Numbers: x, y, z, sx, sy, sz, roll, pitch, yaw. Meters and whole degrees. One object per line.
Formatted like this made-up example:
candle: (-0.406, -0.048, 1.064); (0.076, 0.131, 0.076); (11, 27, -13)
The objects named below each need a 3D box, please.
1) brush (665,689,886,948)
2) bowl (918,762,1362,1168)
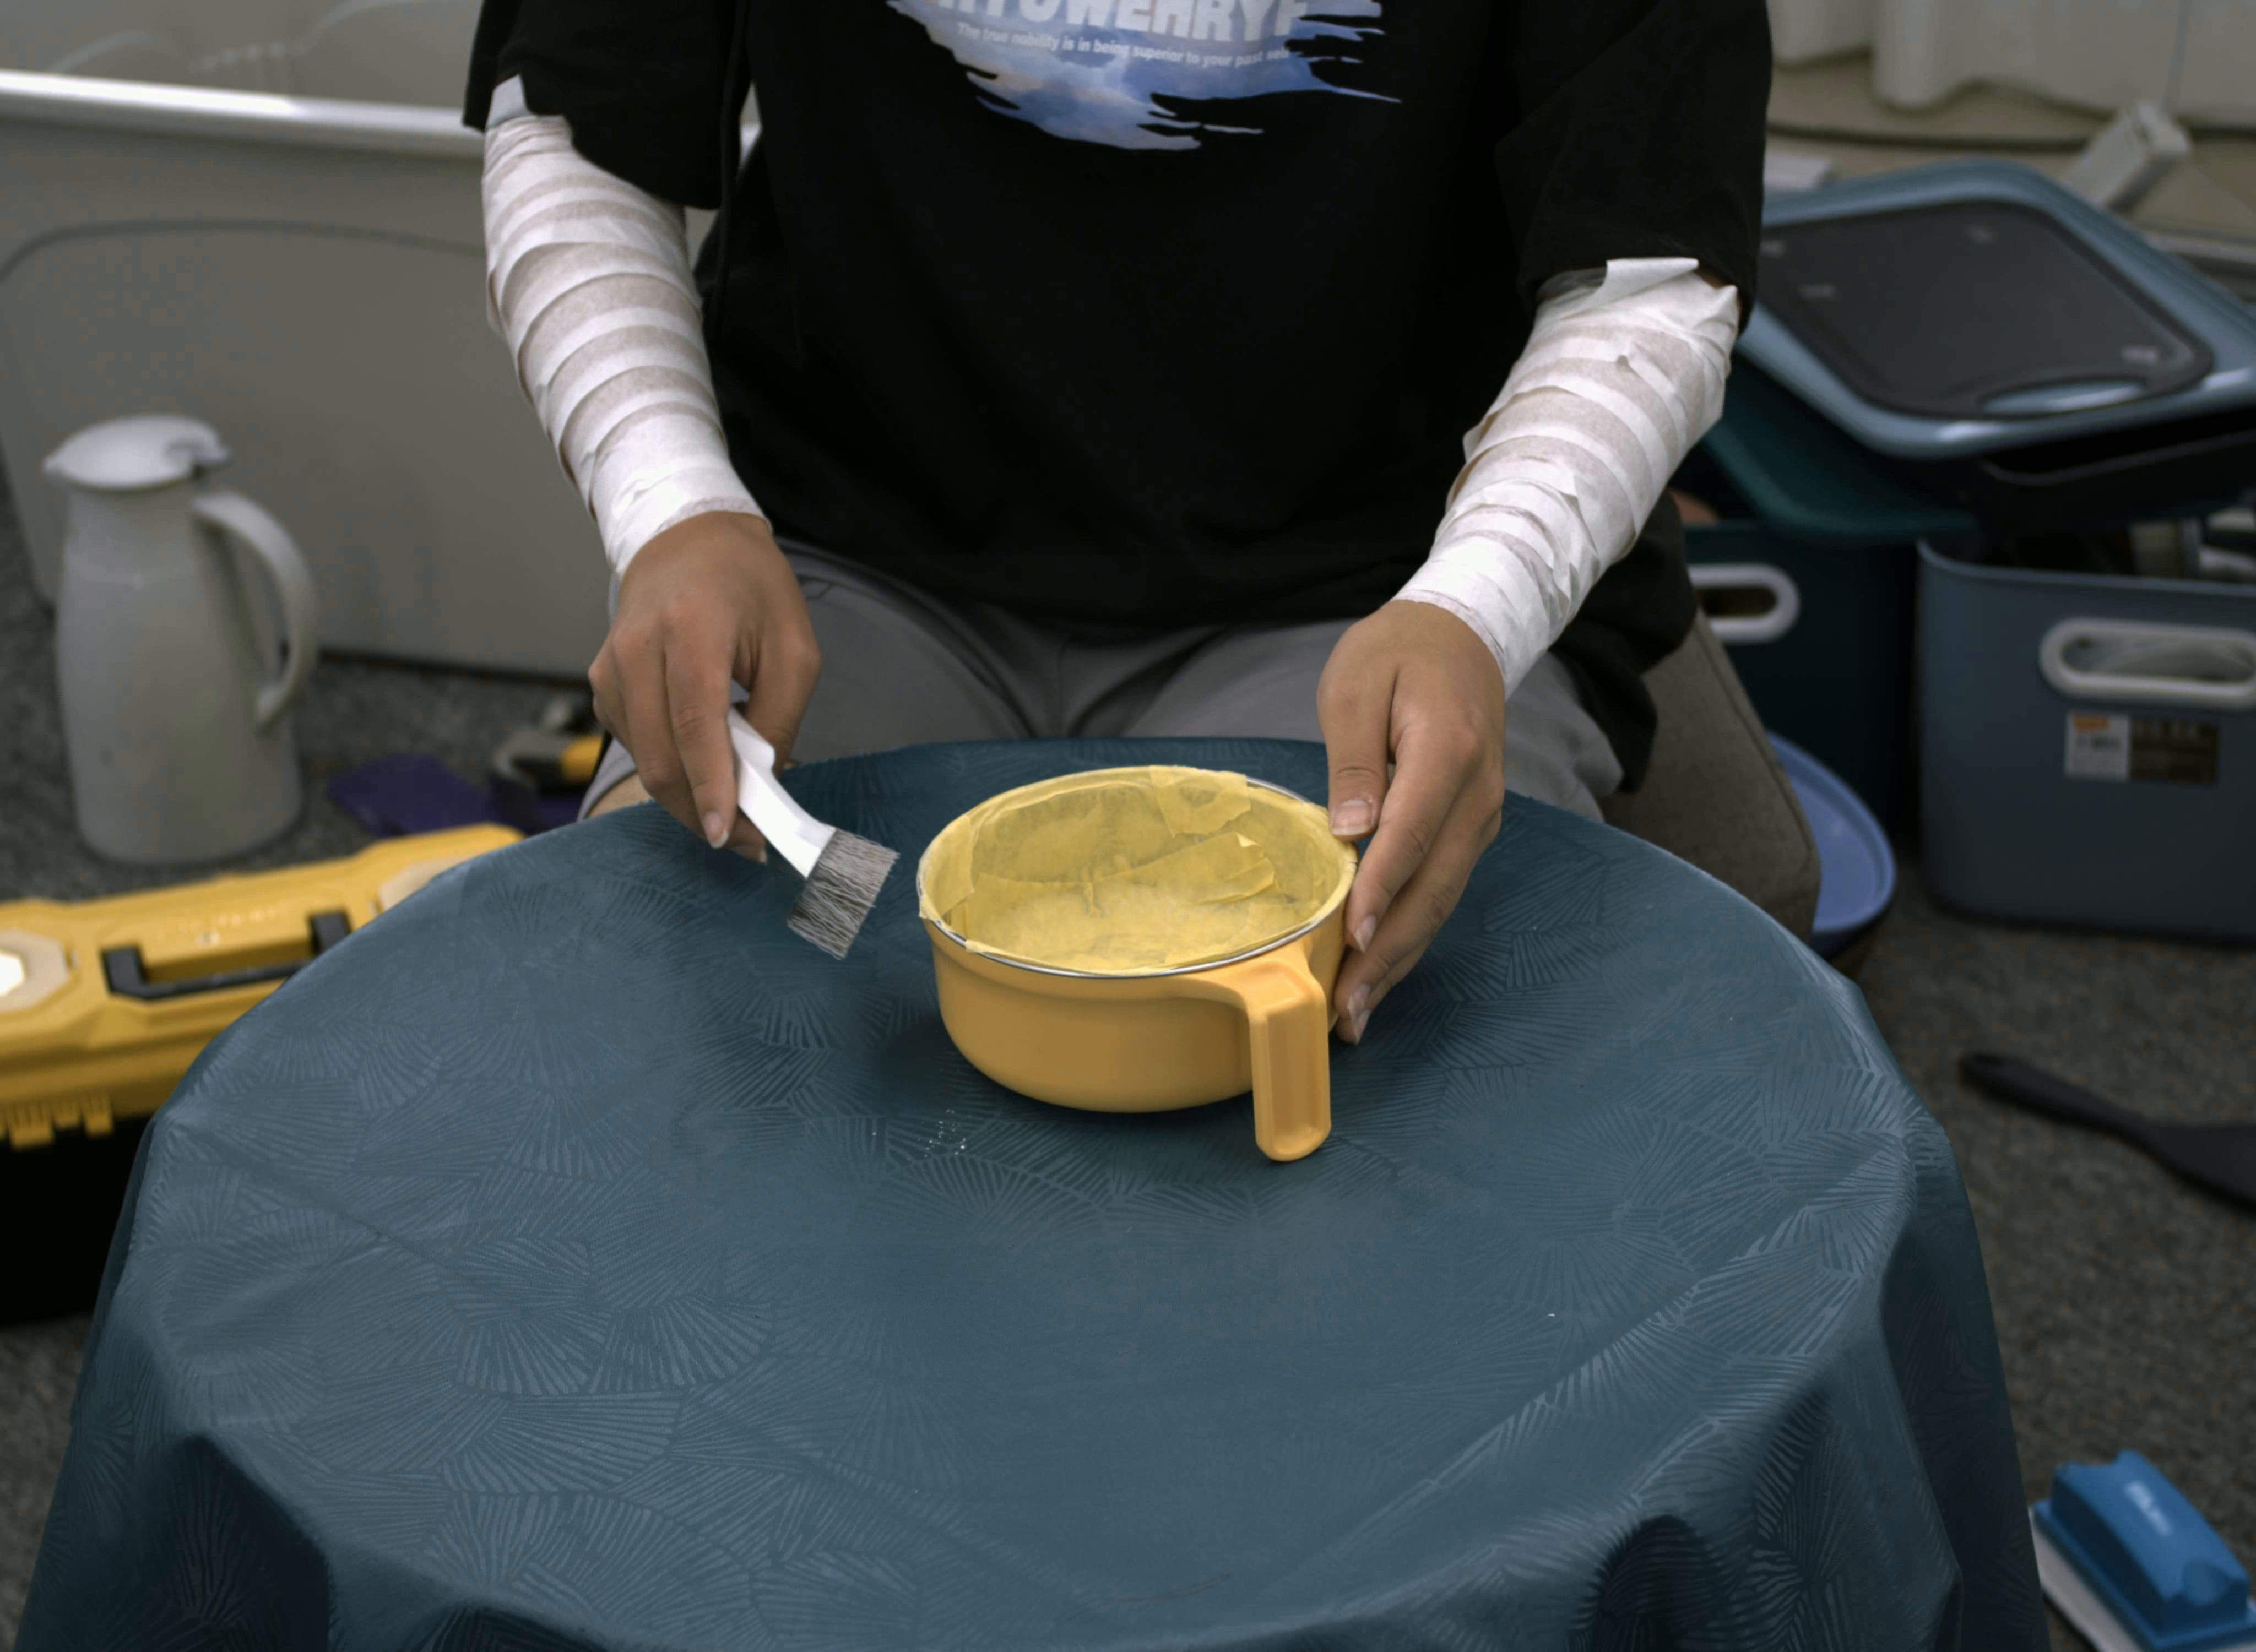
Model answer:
brush: (-0.126, -0.005, 2.019); (0.050, 0.034, 0.245); (22, 9, -18)
bowl: (0.010, 0.047, 1.930); (0.154, 0.073, 0.180); (-14, 29, -30)
